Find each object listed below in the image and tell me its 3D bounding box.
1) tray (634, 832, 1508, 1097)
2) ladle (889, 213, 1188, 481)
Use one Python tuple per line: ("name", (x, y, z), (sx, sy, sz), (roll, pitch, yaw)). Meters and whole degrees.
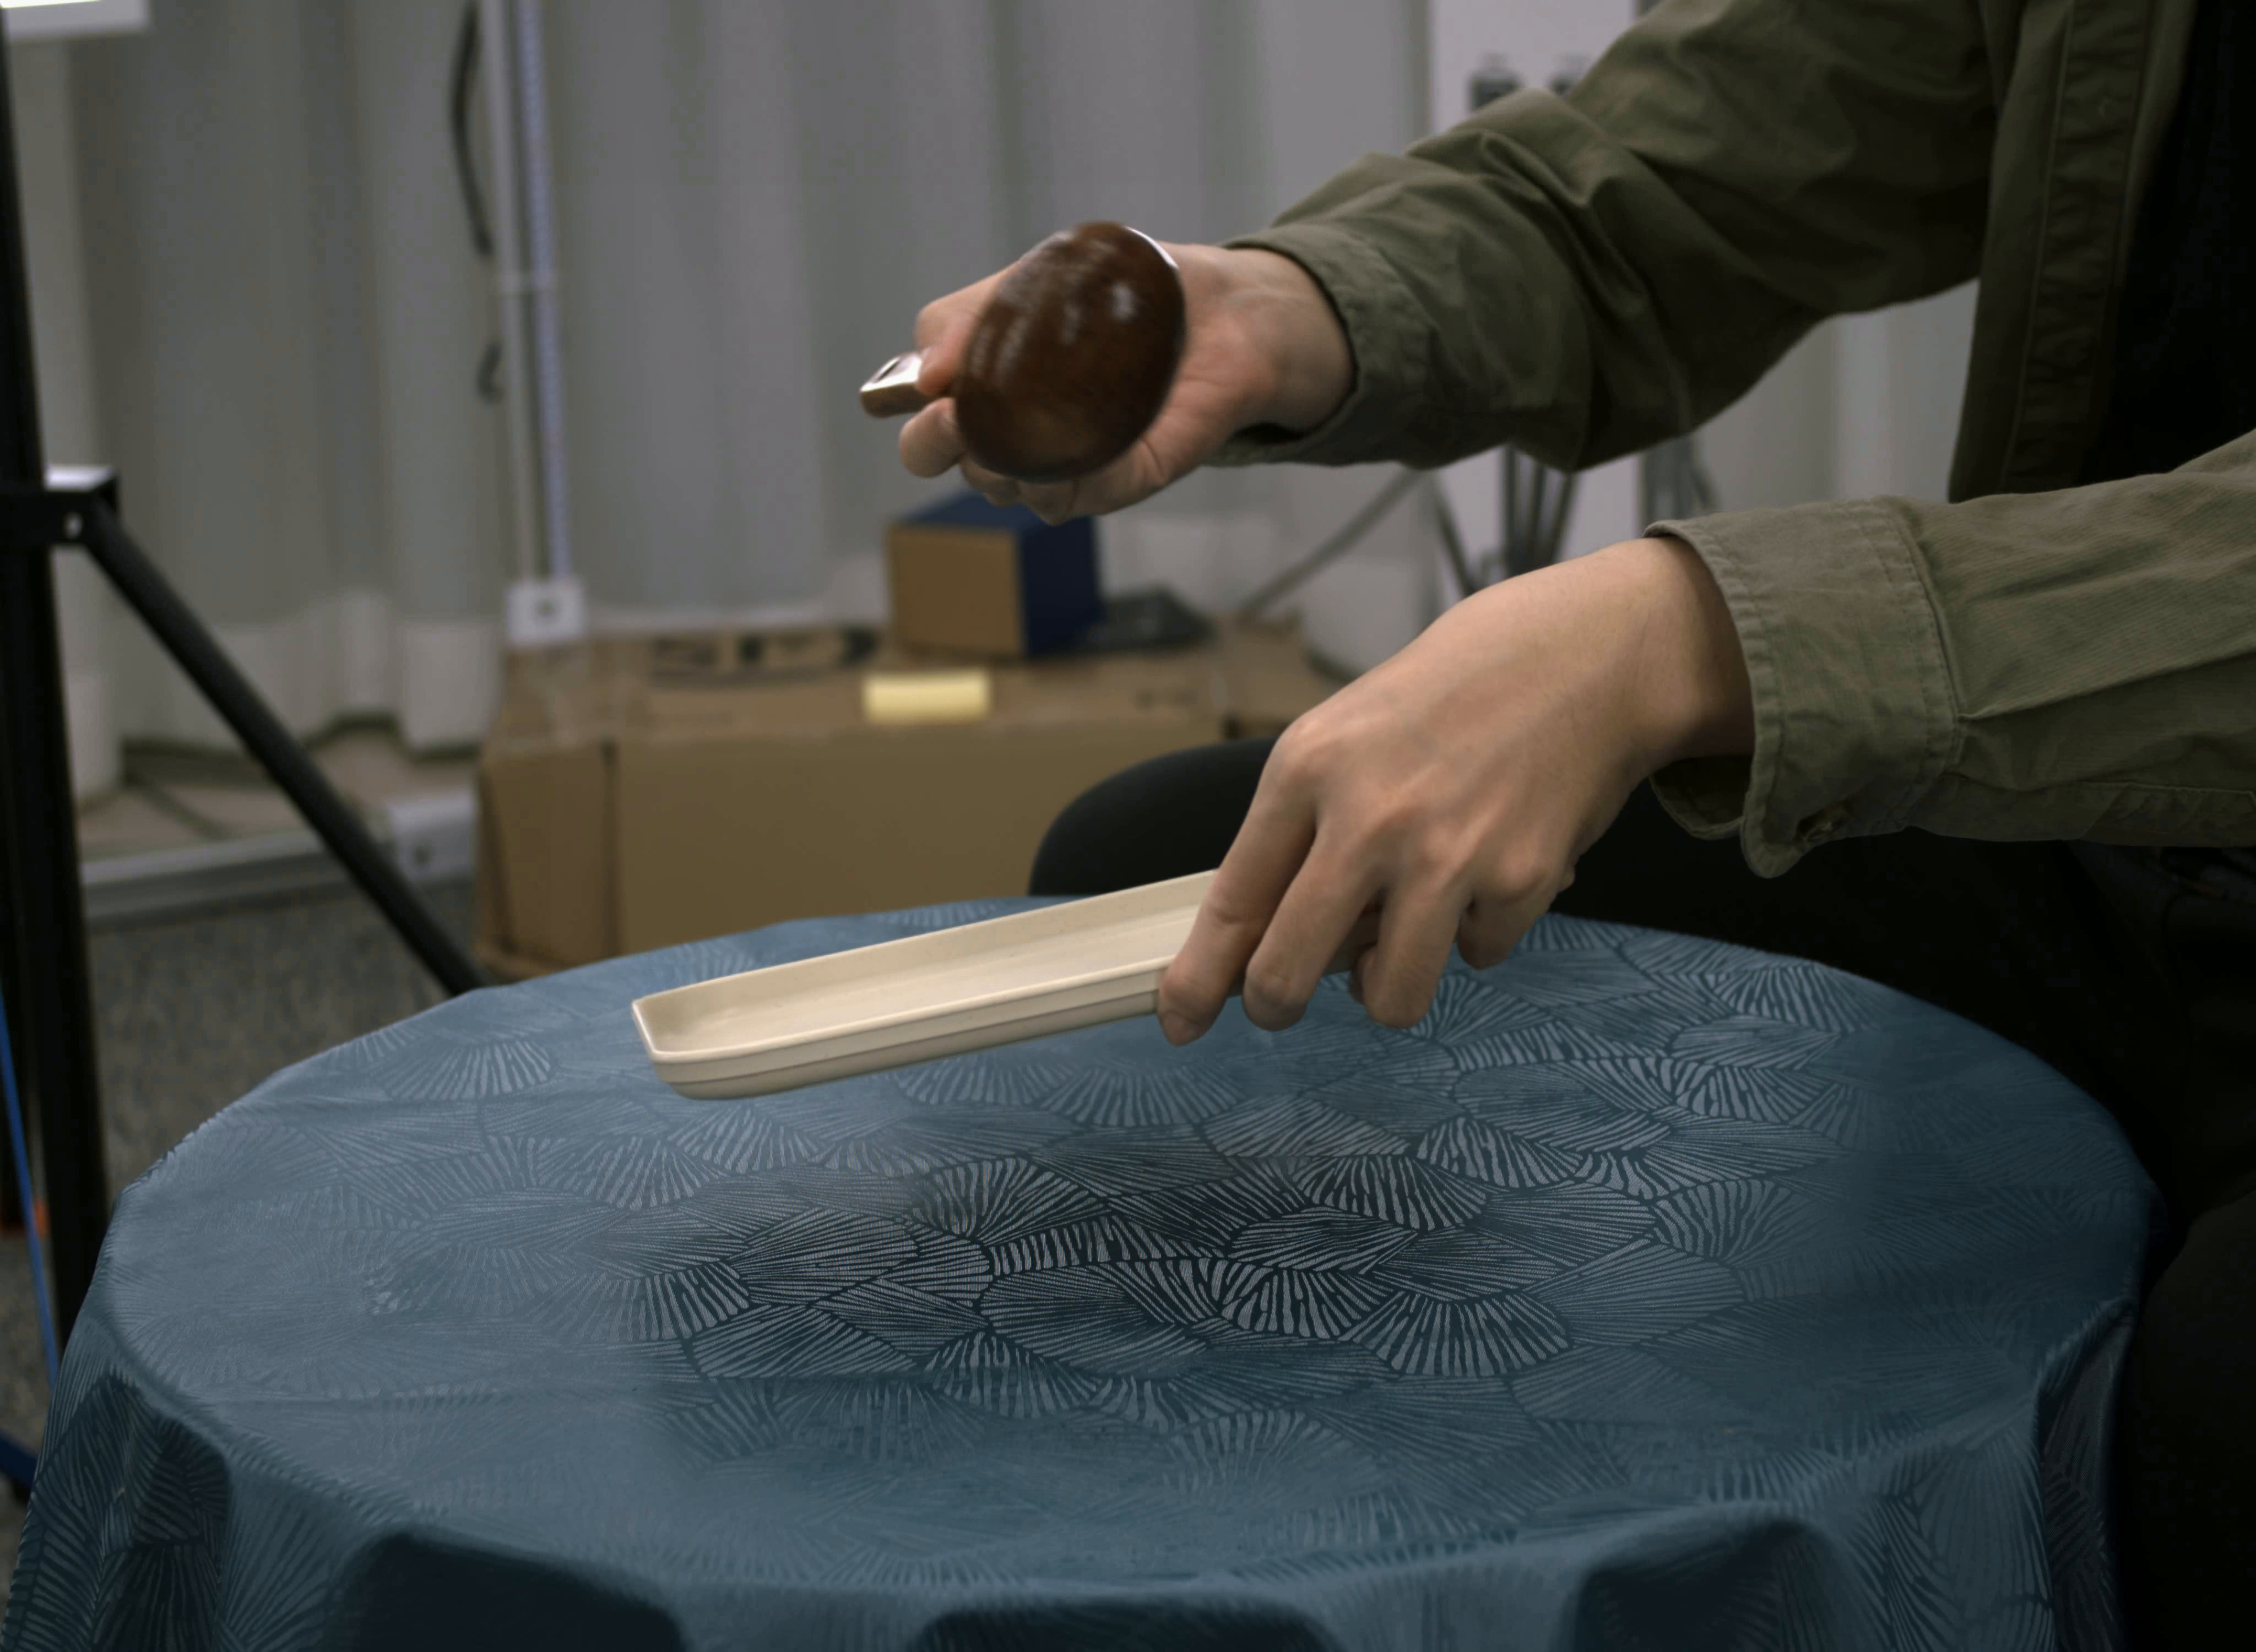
("tray", (-0.018, 0.039, 1.497), (0.238, 0.017, 0.172), (-12, 6, -5))
("ladle", (-0.049, -0.149, 1.608), (0.081, 0.076, 0.278), (-41, 19, -8))
